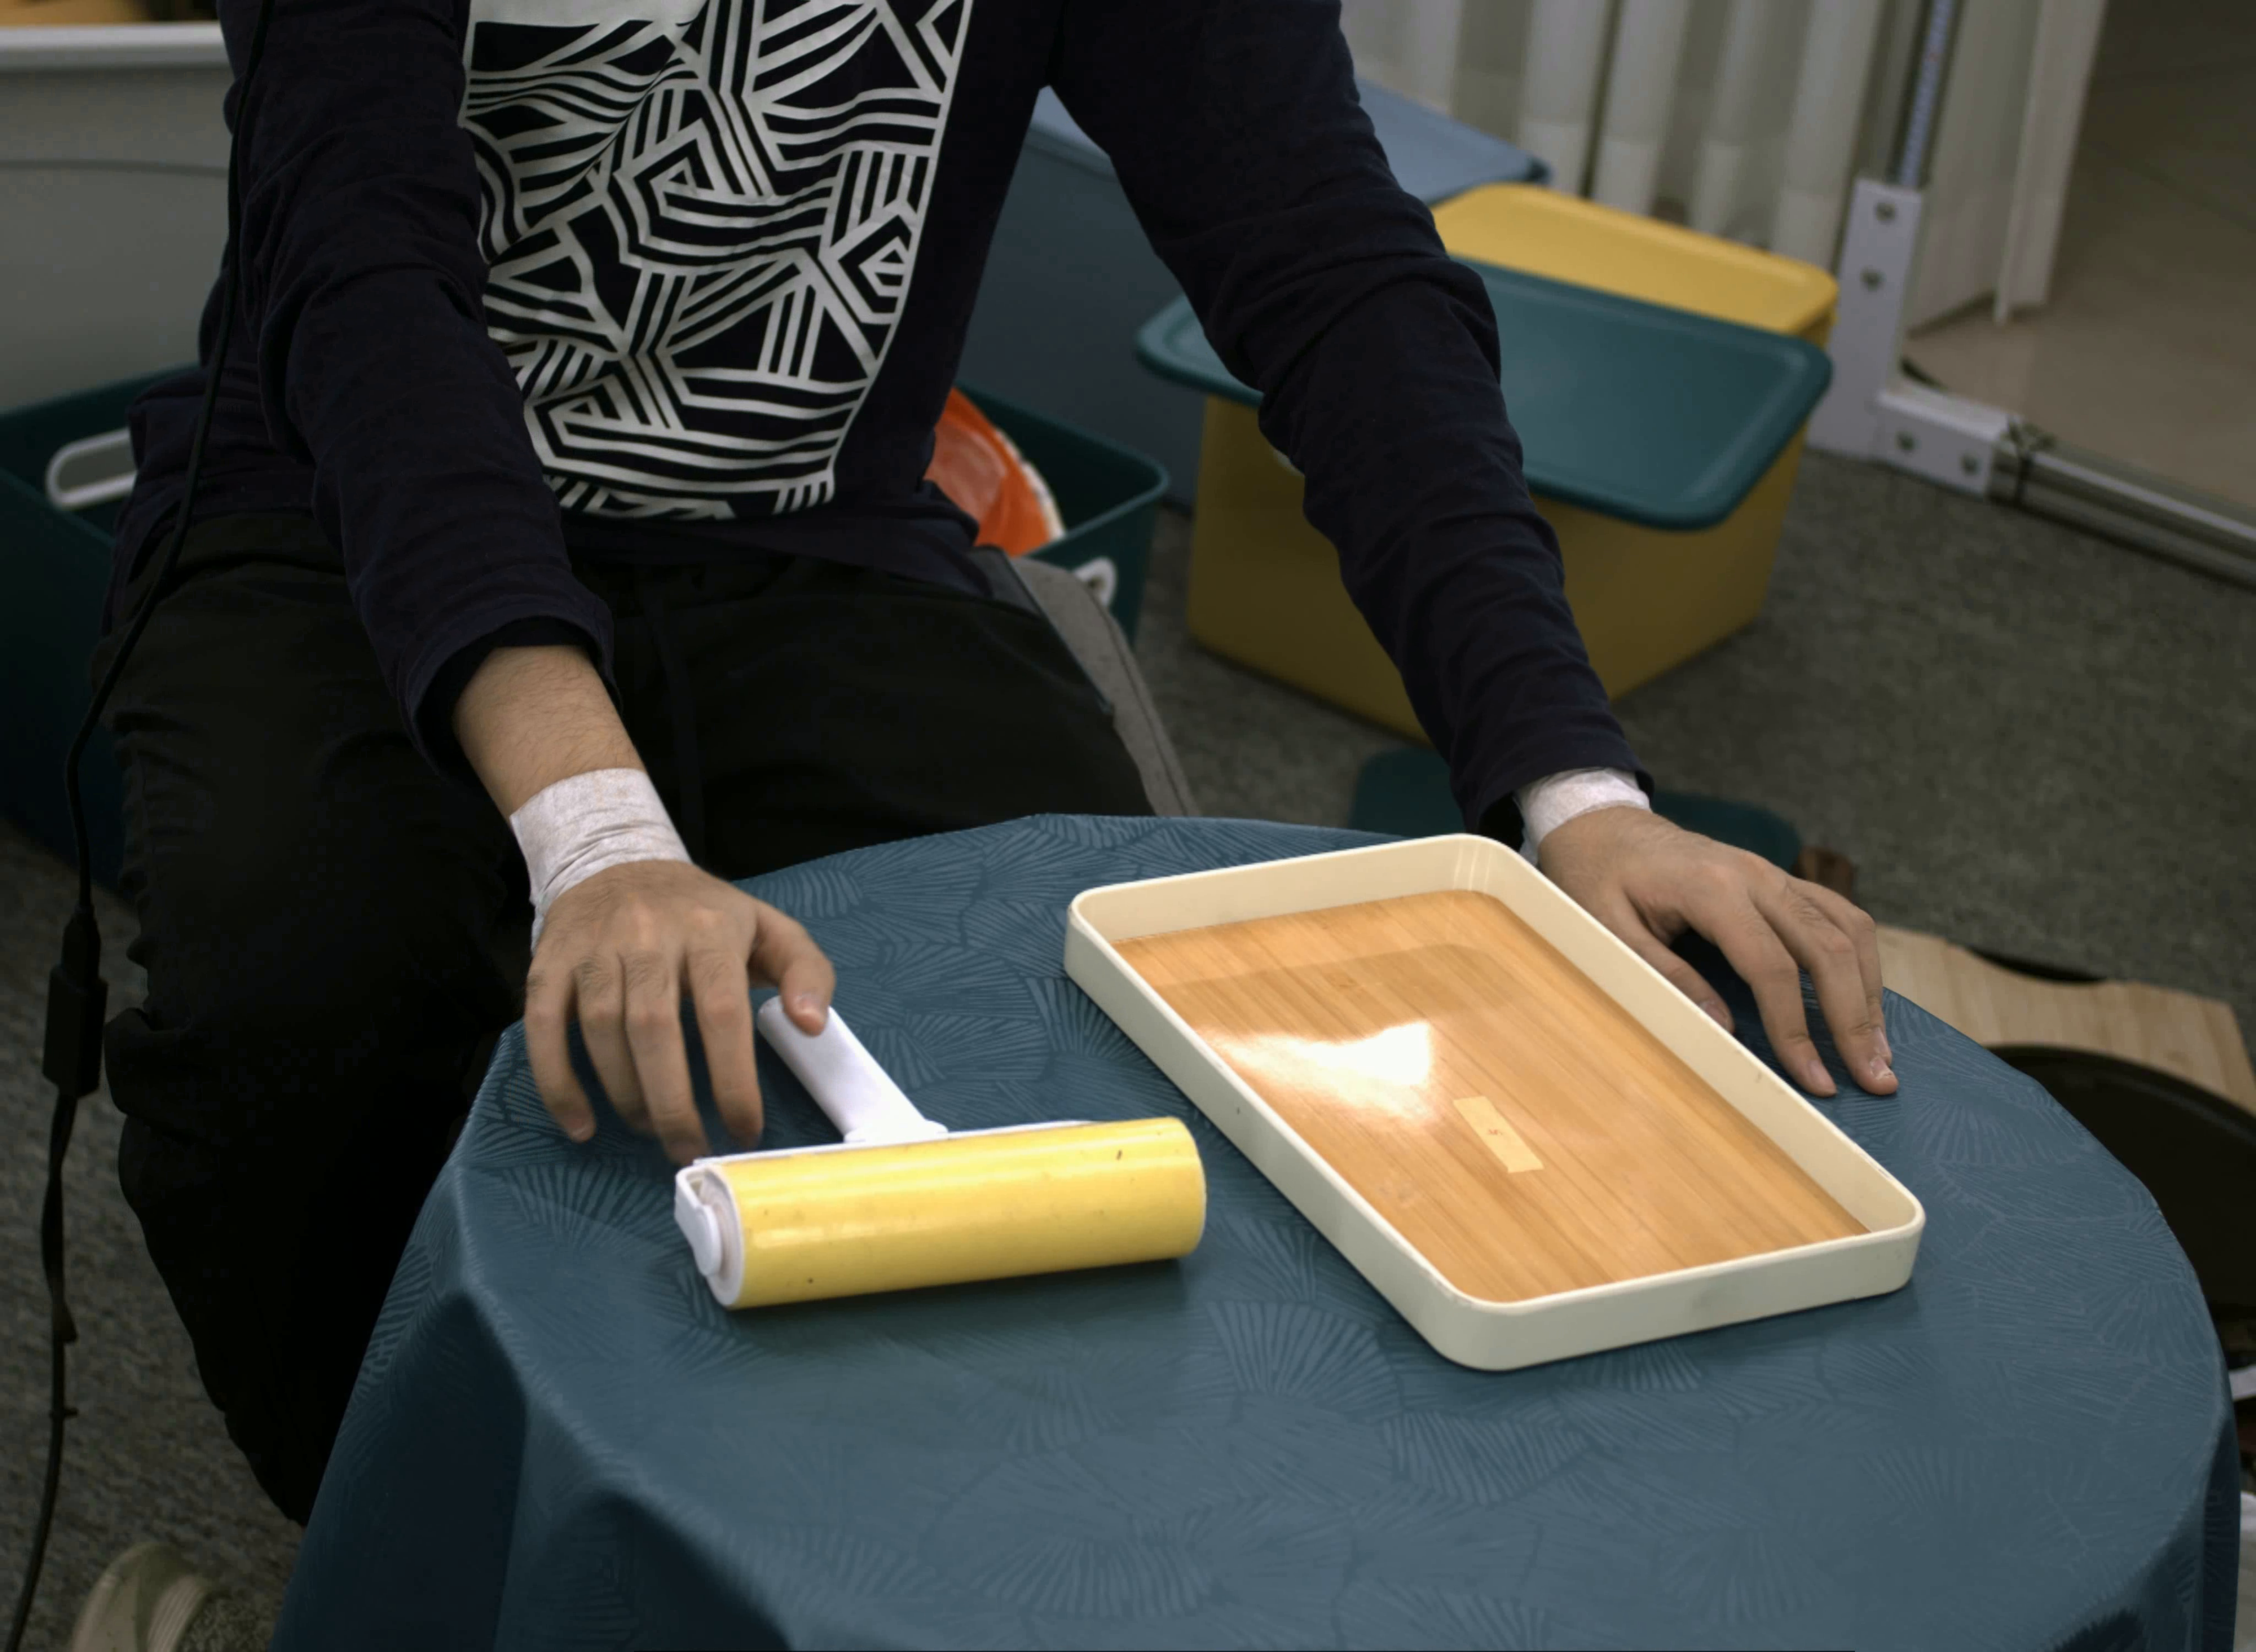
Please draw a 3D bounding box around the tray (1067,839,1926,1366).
[{"bbox_3d":[0.123,0.091,1.870,0.190,0.027,0.303,-7,30,-27],"label":"tray"}]

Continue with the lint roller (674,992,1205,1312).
[{"bbox_3d":[-0.085,0.093,1.793,0.173,0.051,0.194,-5,32,-23],"label":"lint roller"}]
